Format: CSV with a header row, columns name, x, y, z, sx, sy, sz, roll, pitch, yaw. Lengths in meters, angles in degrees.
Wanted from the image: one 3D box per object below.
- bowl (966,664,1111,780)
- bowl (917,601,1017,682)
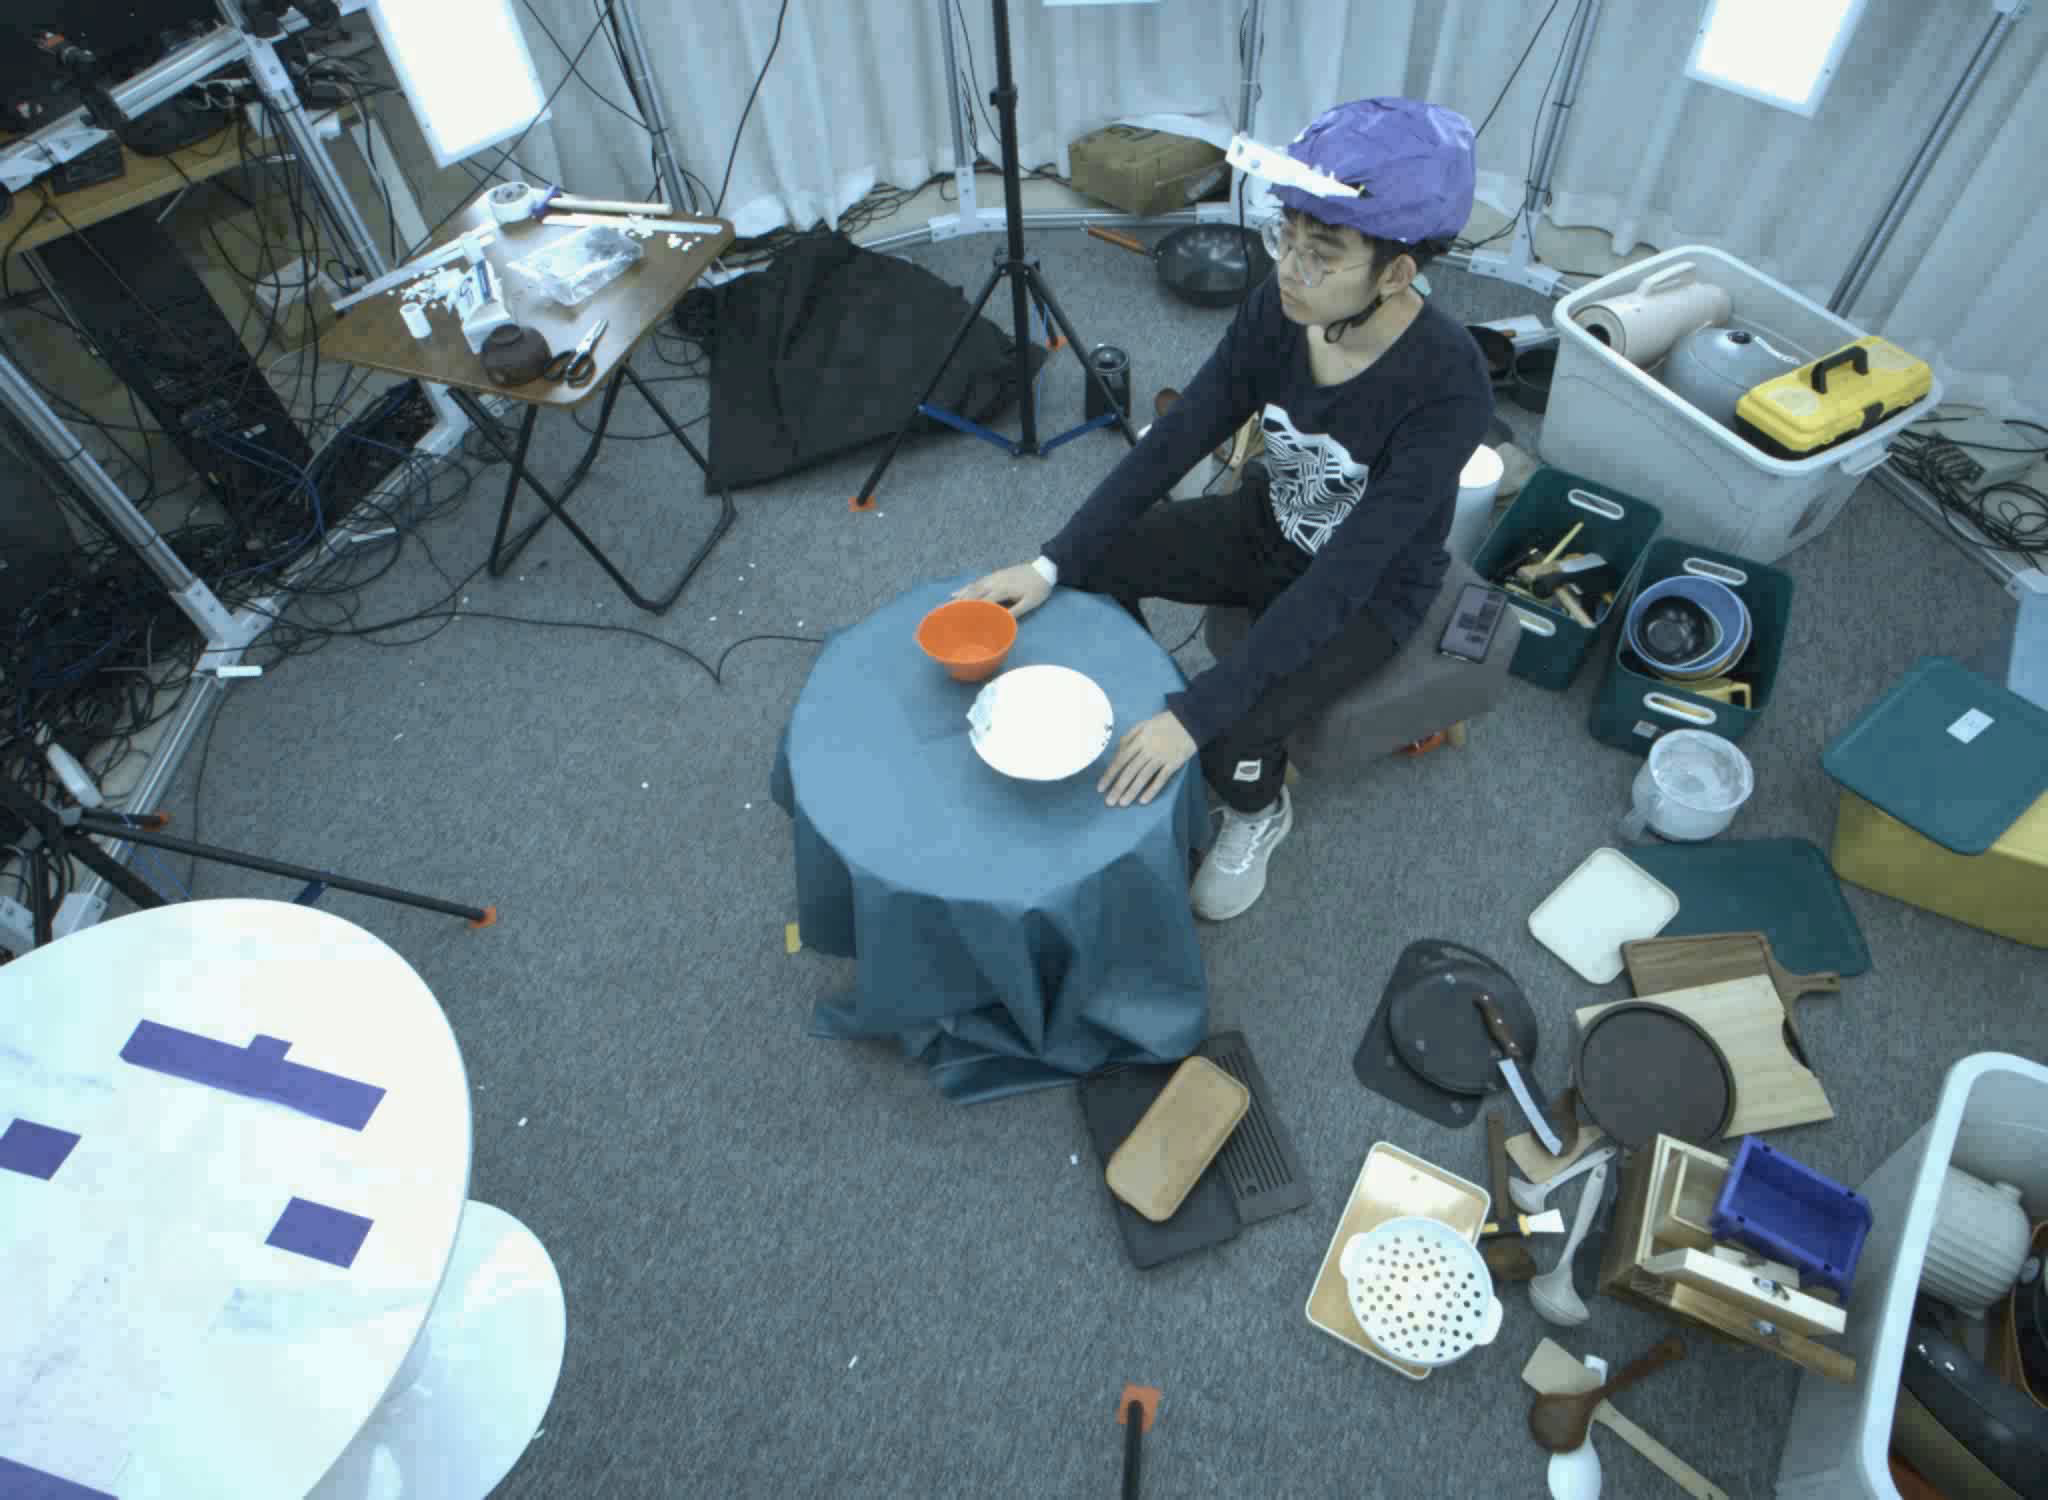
name,x,y,z,sx,sy,sz,roll,pitch,yaw
bowl,0.021,-0.021,1.763,0.204,0.078,0.202,1,55,0
bowl,-0.083,-0.151,1.844,0.148,0.106,0.146,0,53,1
